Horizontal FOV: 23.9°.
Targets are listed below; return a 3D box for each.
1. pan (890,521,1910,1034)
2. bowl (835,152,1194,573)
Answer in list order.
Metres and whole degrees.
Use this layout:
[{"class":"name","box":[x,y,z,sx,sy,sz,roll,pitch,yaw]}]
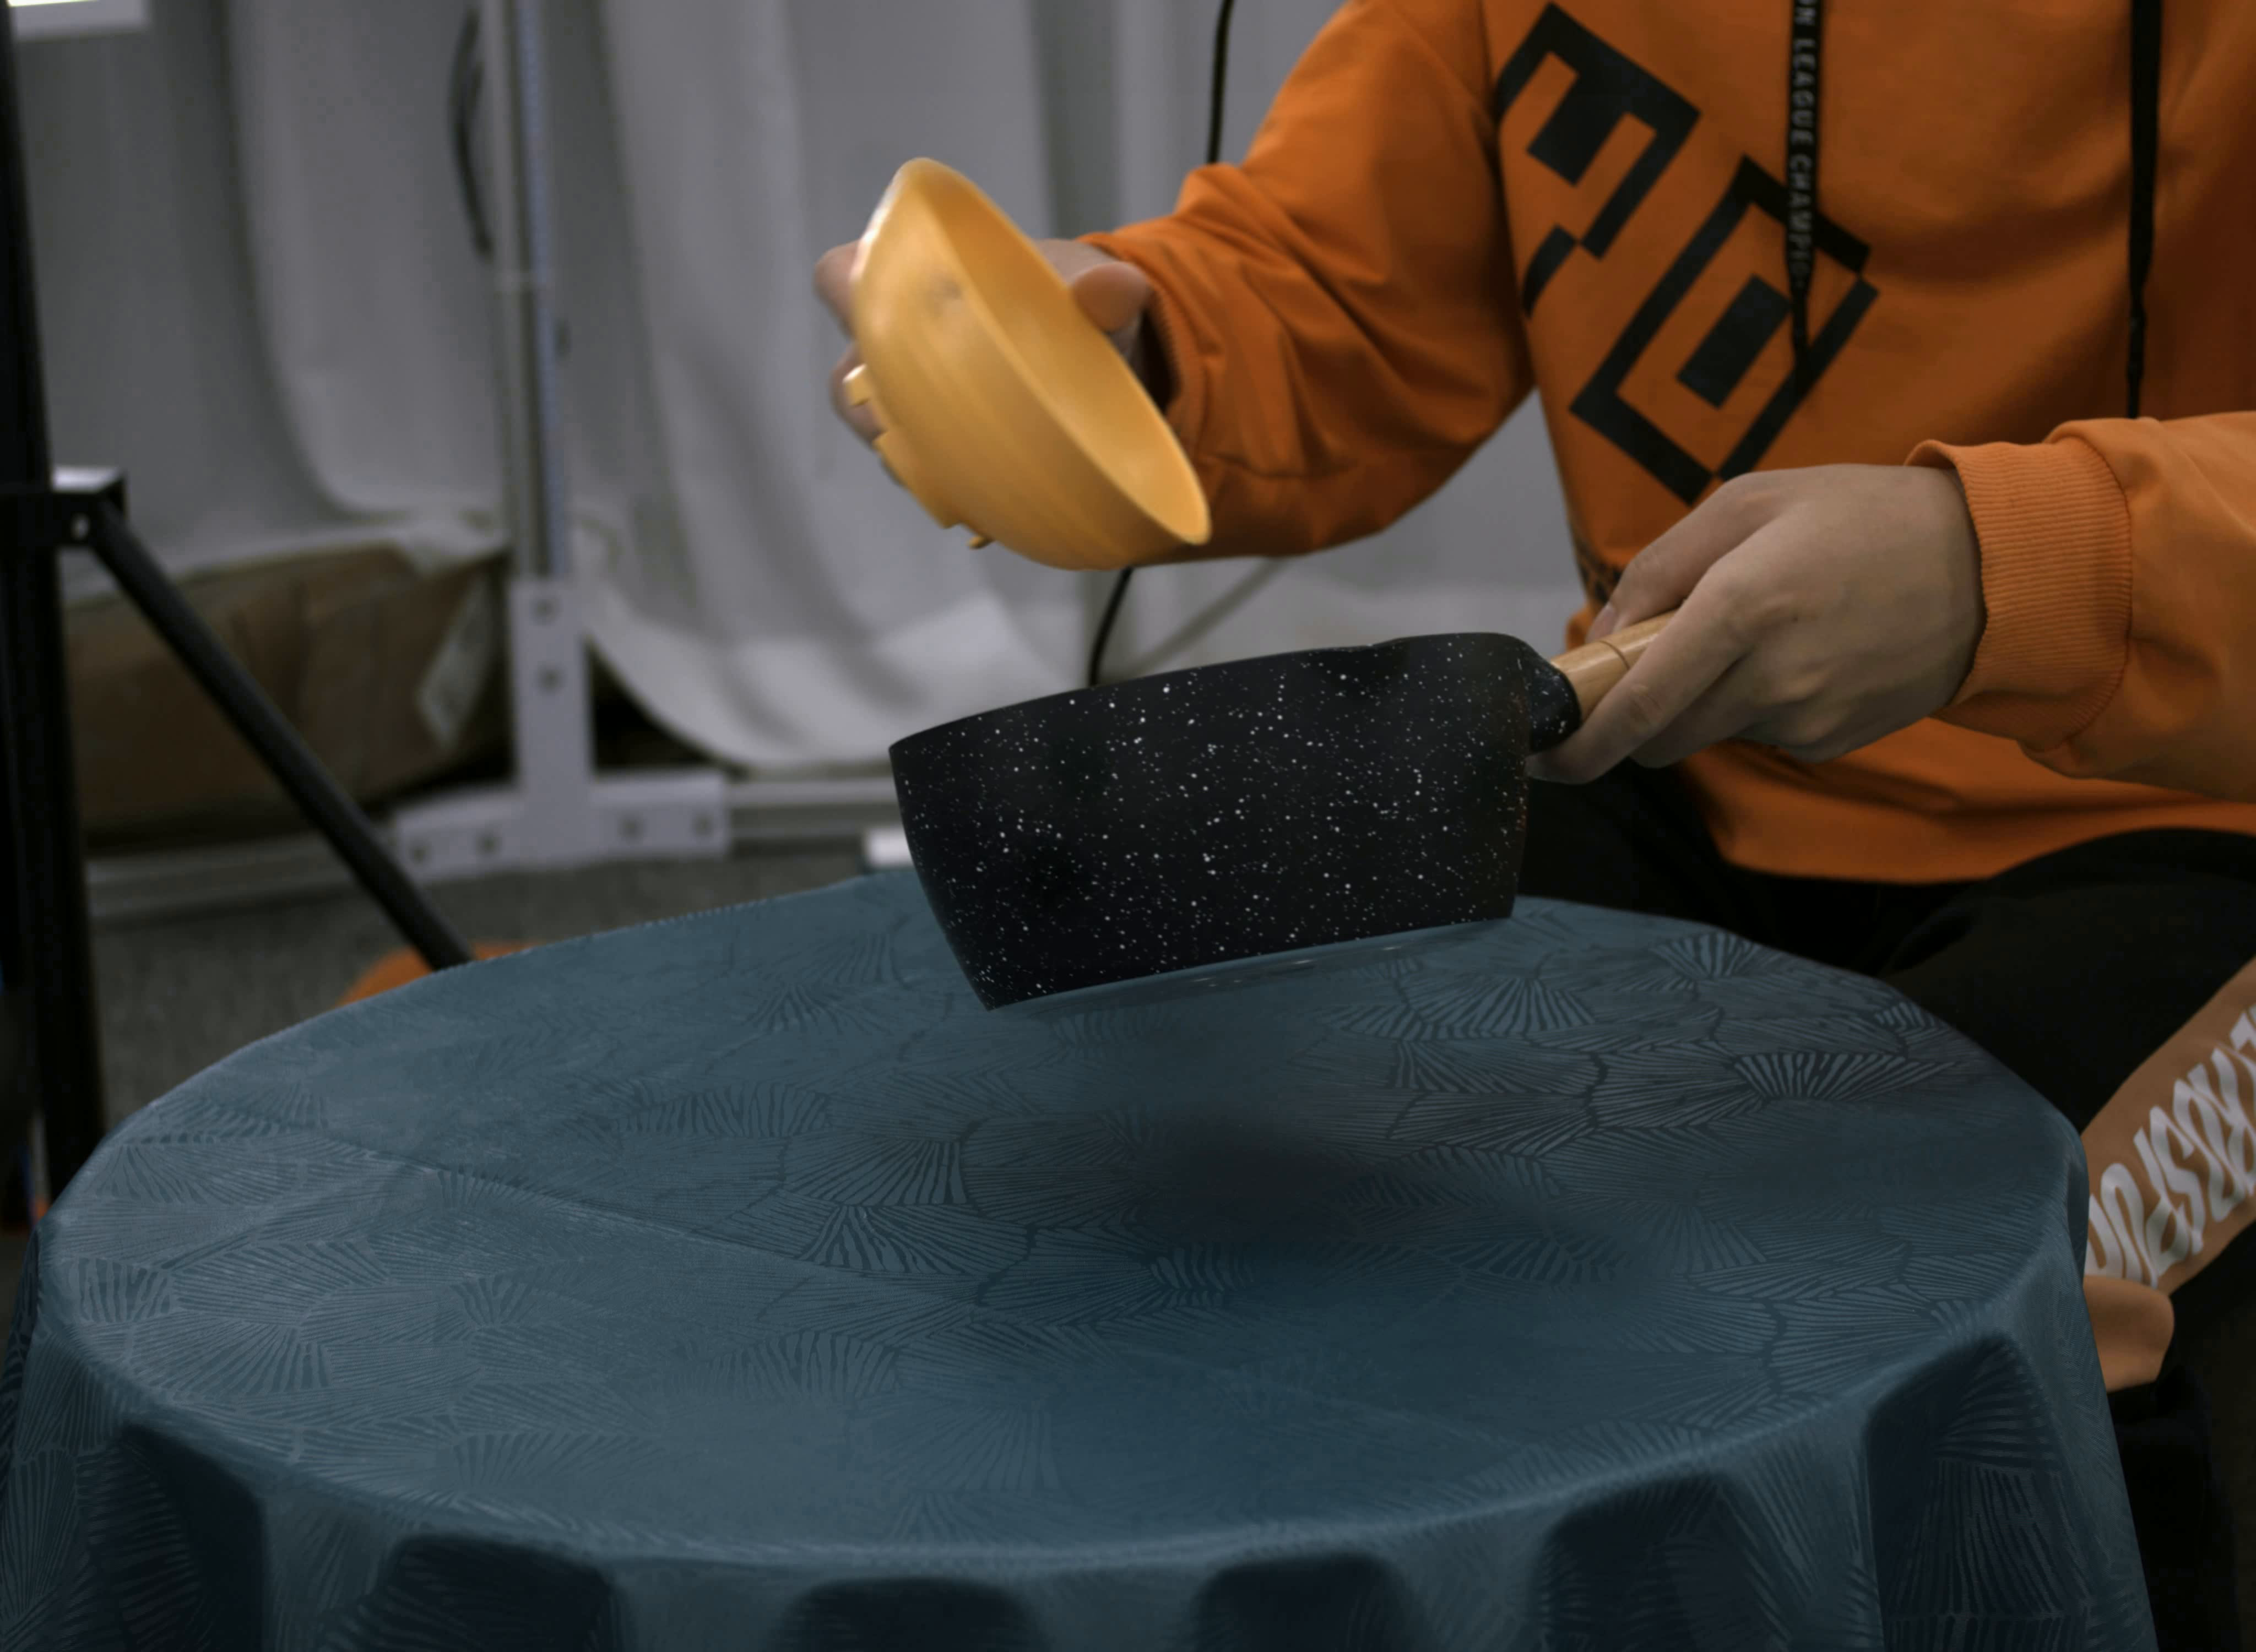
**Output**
[{"class":"pan","box":[0.096,-0.017,1.566,0.335,0.109,0.210,-9,-6,-28]},{"class":"bowl","box":[-0.046,-0.128,1.615,0.060,0.144,0.145,-36,10,13]}]
